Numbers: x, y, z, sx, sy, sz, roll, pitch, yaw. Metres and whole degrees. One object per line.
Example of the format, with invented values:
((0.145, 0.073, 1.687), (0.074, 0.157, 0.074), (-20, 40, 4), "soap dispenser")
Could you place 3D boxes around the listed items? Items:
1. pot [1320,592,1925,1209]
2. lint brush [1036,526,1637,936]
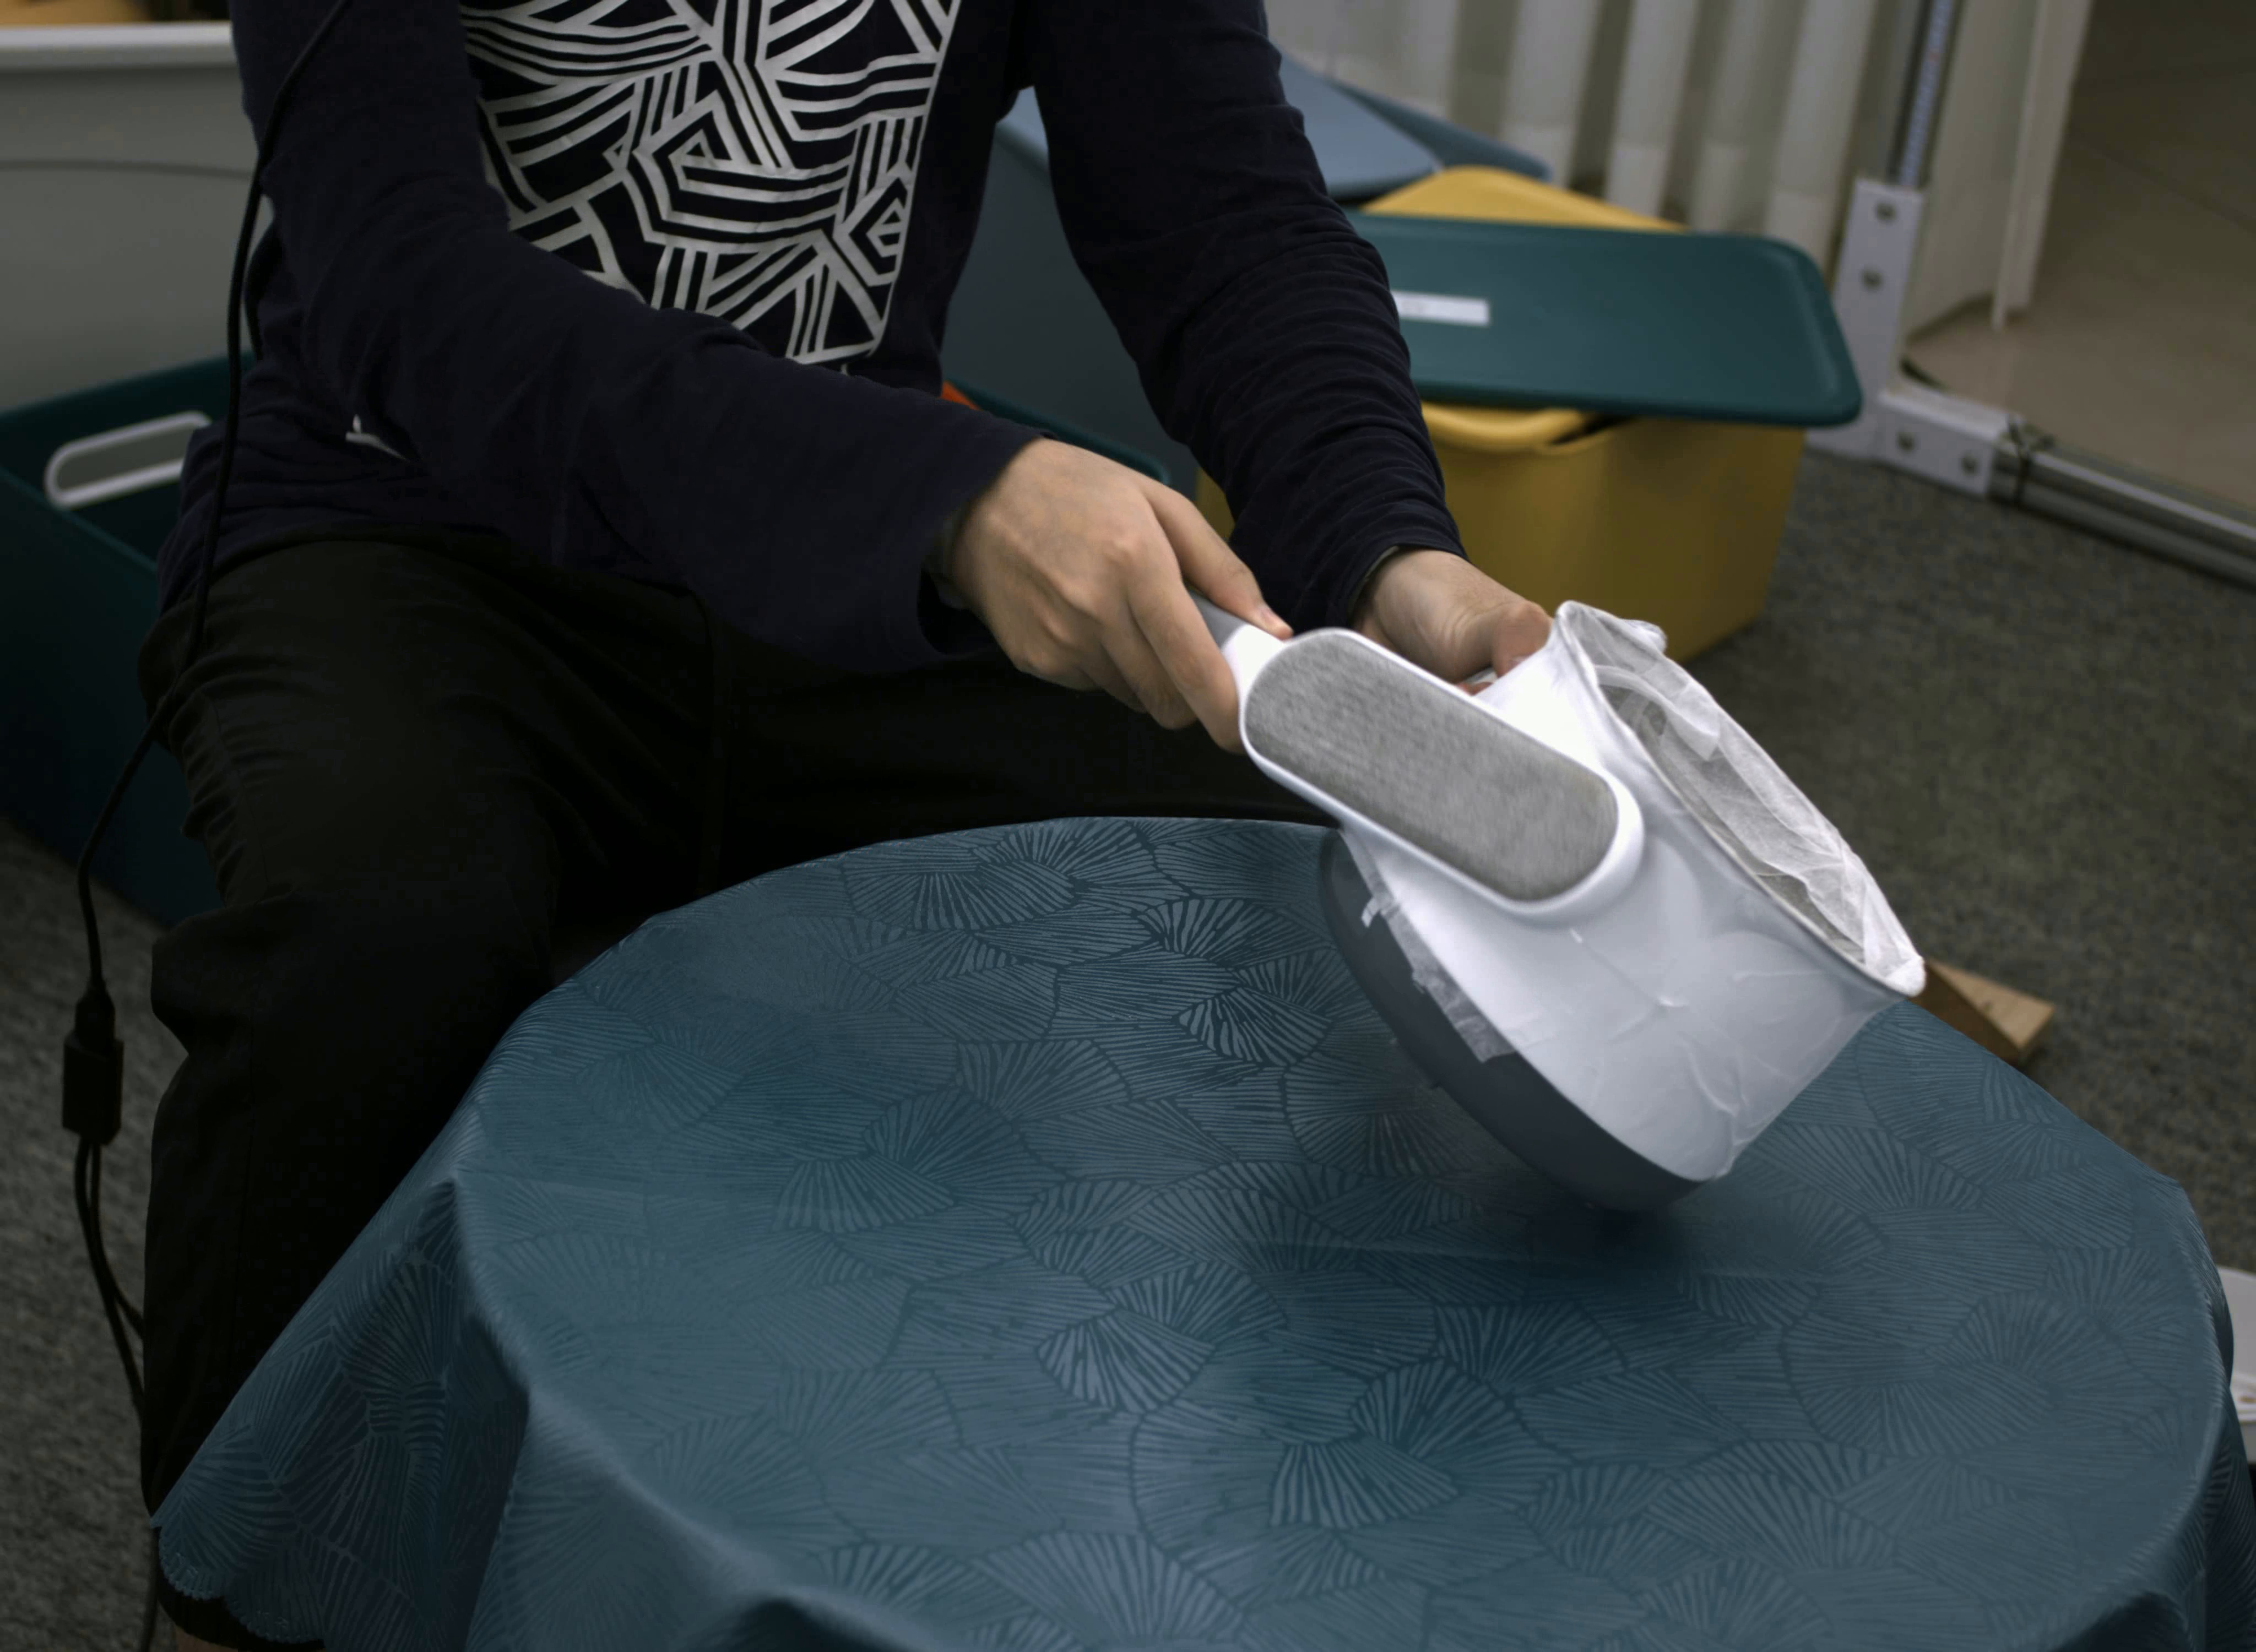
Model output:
((0.155, 0.014, 1.817), (0.177, 0.136, 0.236), (39, 17, -34), "pot")
((0.063, -0.041, 1.781), (0.021, 0.060, 0.311), (34, -1, -43), "lint brush")
